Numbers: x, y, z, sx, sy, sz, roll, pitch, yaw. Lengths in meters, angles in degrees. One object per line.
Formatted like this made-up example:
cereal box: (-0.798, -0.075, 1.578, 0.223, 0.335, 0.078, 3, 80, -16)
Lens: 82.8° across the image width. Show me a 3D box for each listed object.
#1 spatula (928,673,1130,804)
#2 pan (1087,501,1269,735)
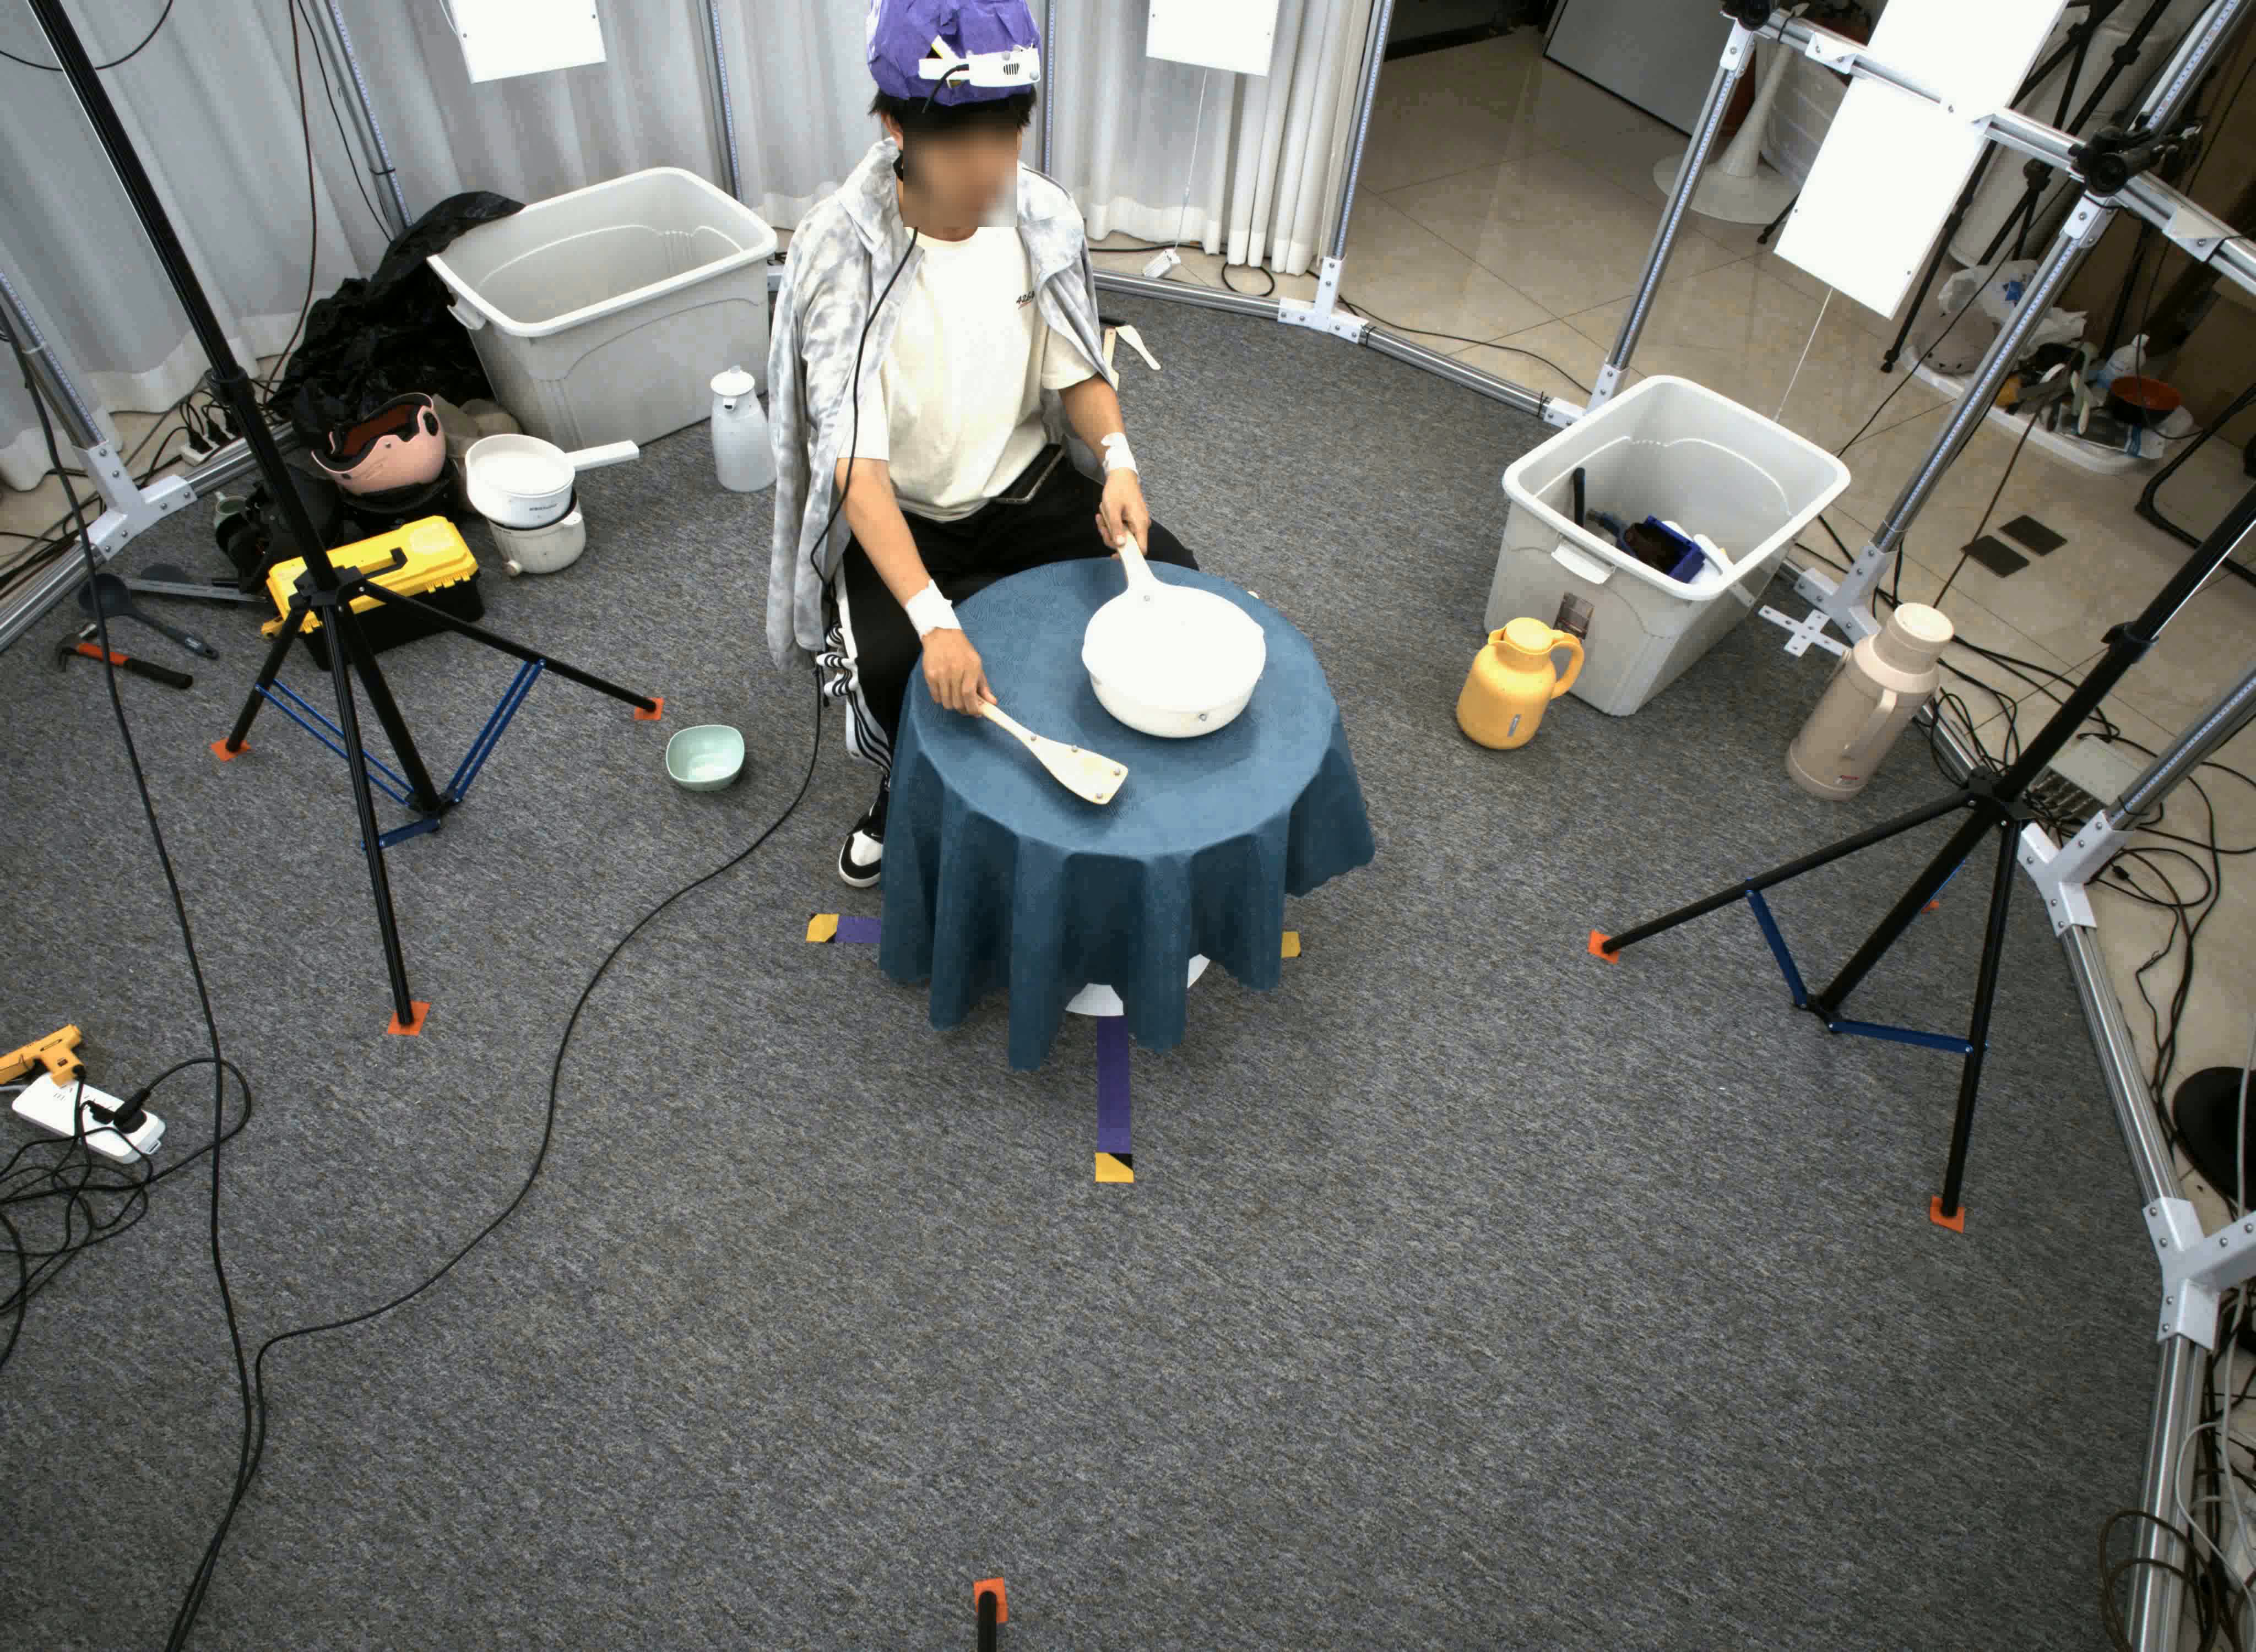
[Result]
spatula: (-0.139, -0.127, 1.714, 0.331, 0.016, 0.081, 32, 51, 19)
pan: (0.039, -0.301, 1.861, 0.263, 0.099, 0.445, -13, 51, -13)
